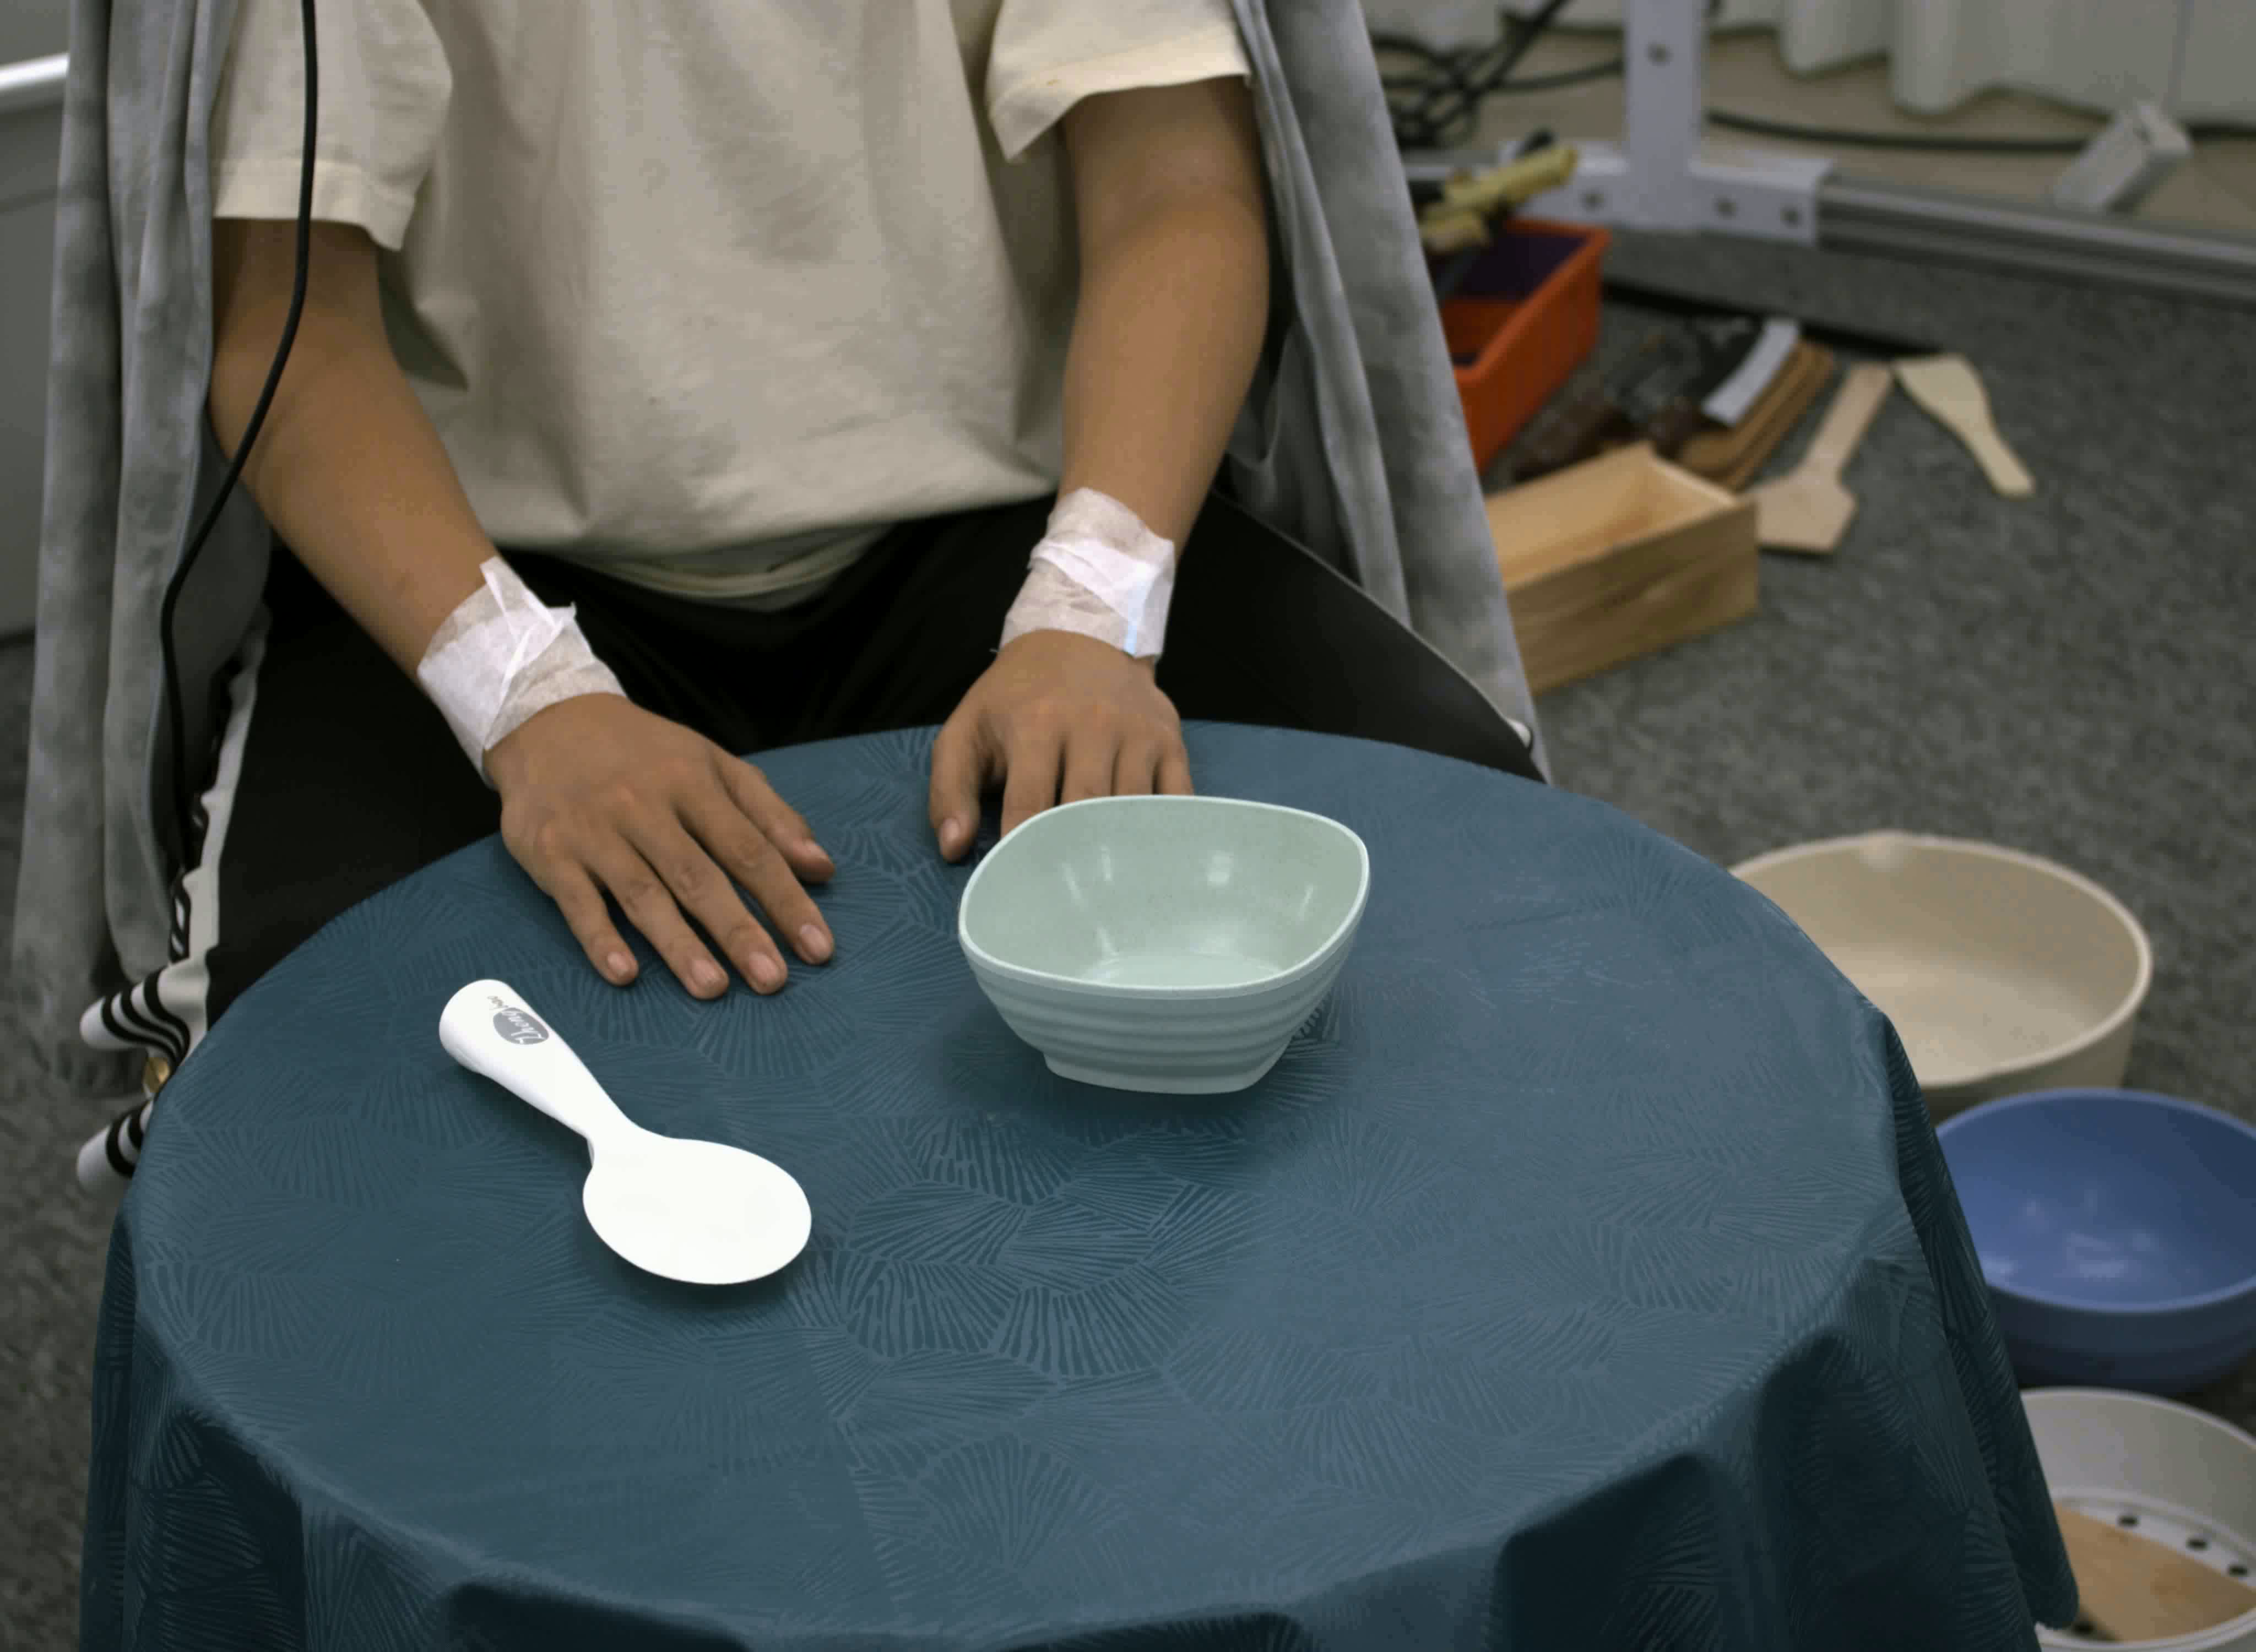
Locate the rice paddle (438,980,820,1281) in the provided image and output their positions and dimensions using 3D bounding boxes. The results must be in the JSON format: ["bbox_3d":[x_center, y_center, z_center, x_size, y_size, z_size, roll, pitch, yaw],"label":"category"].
[{"bbox_3d":[-0.170,0.104,1.879,0.069,0.029,0.206,-20,32,-27],"label":"rice paddle"}]

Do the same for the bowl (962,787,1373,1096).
[{"bbox_3d":[0.016,0.046,1.940,0.150,0.058,0.154,-5,29,3],"label":"bowl"}]
